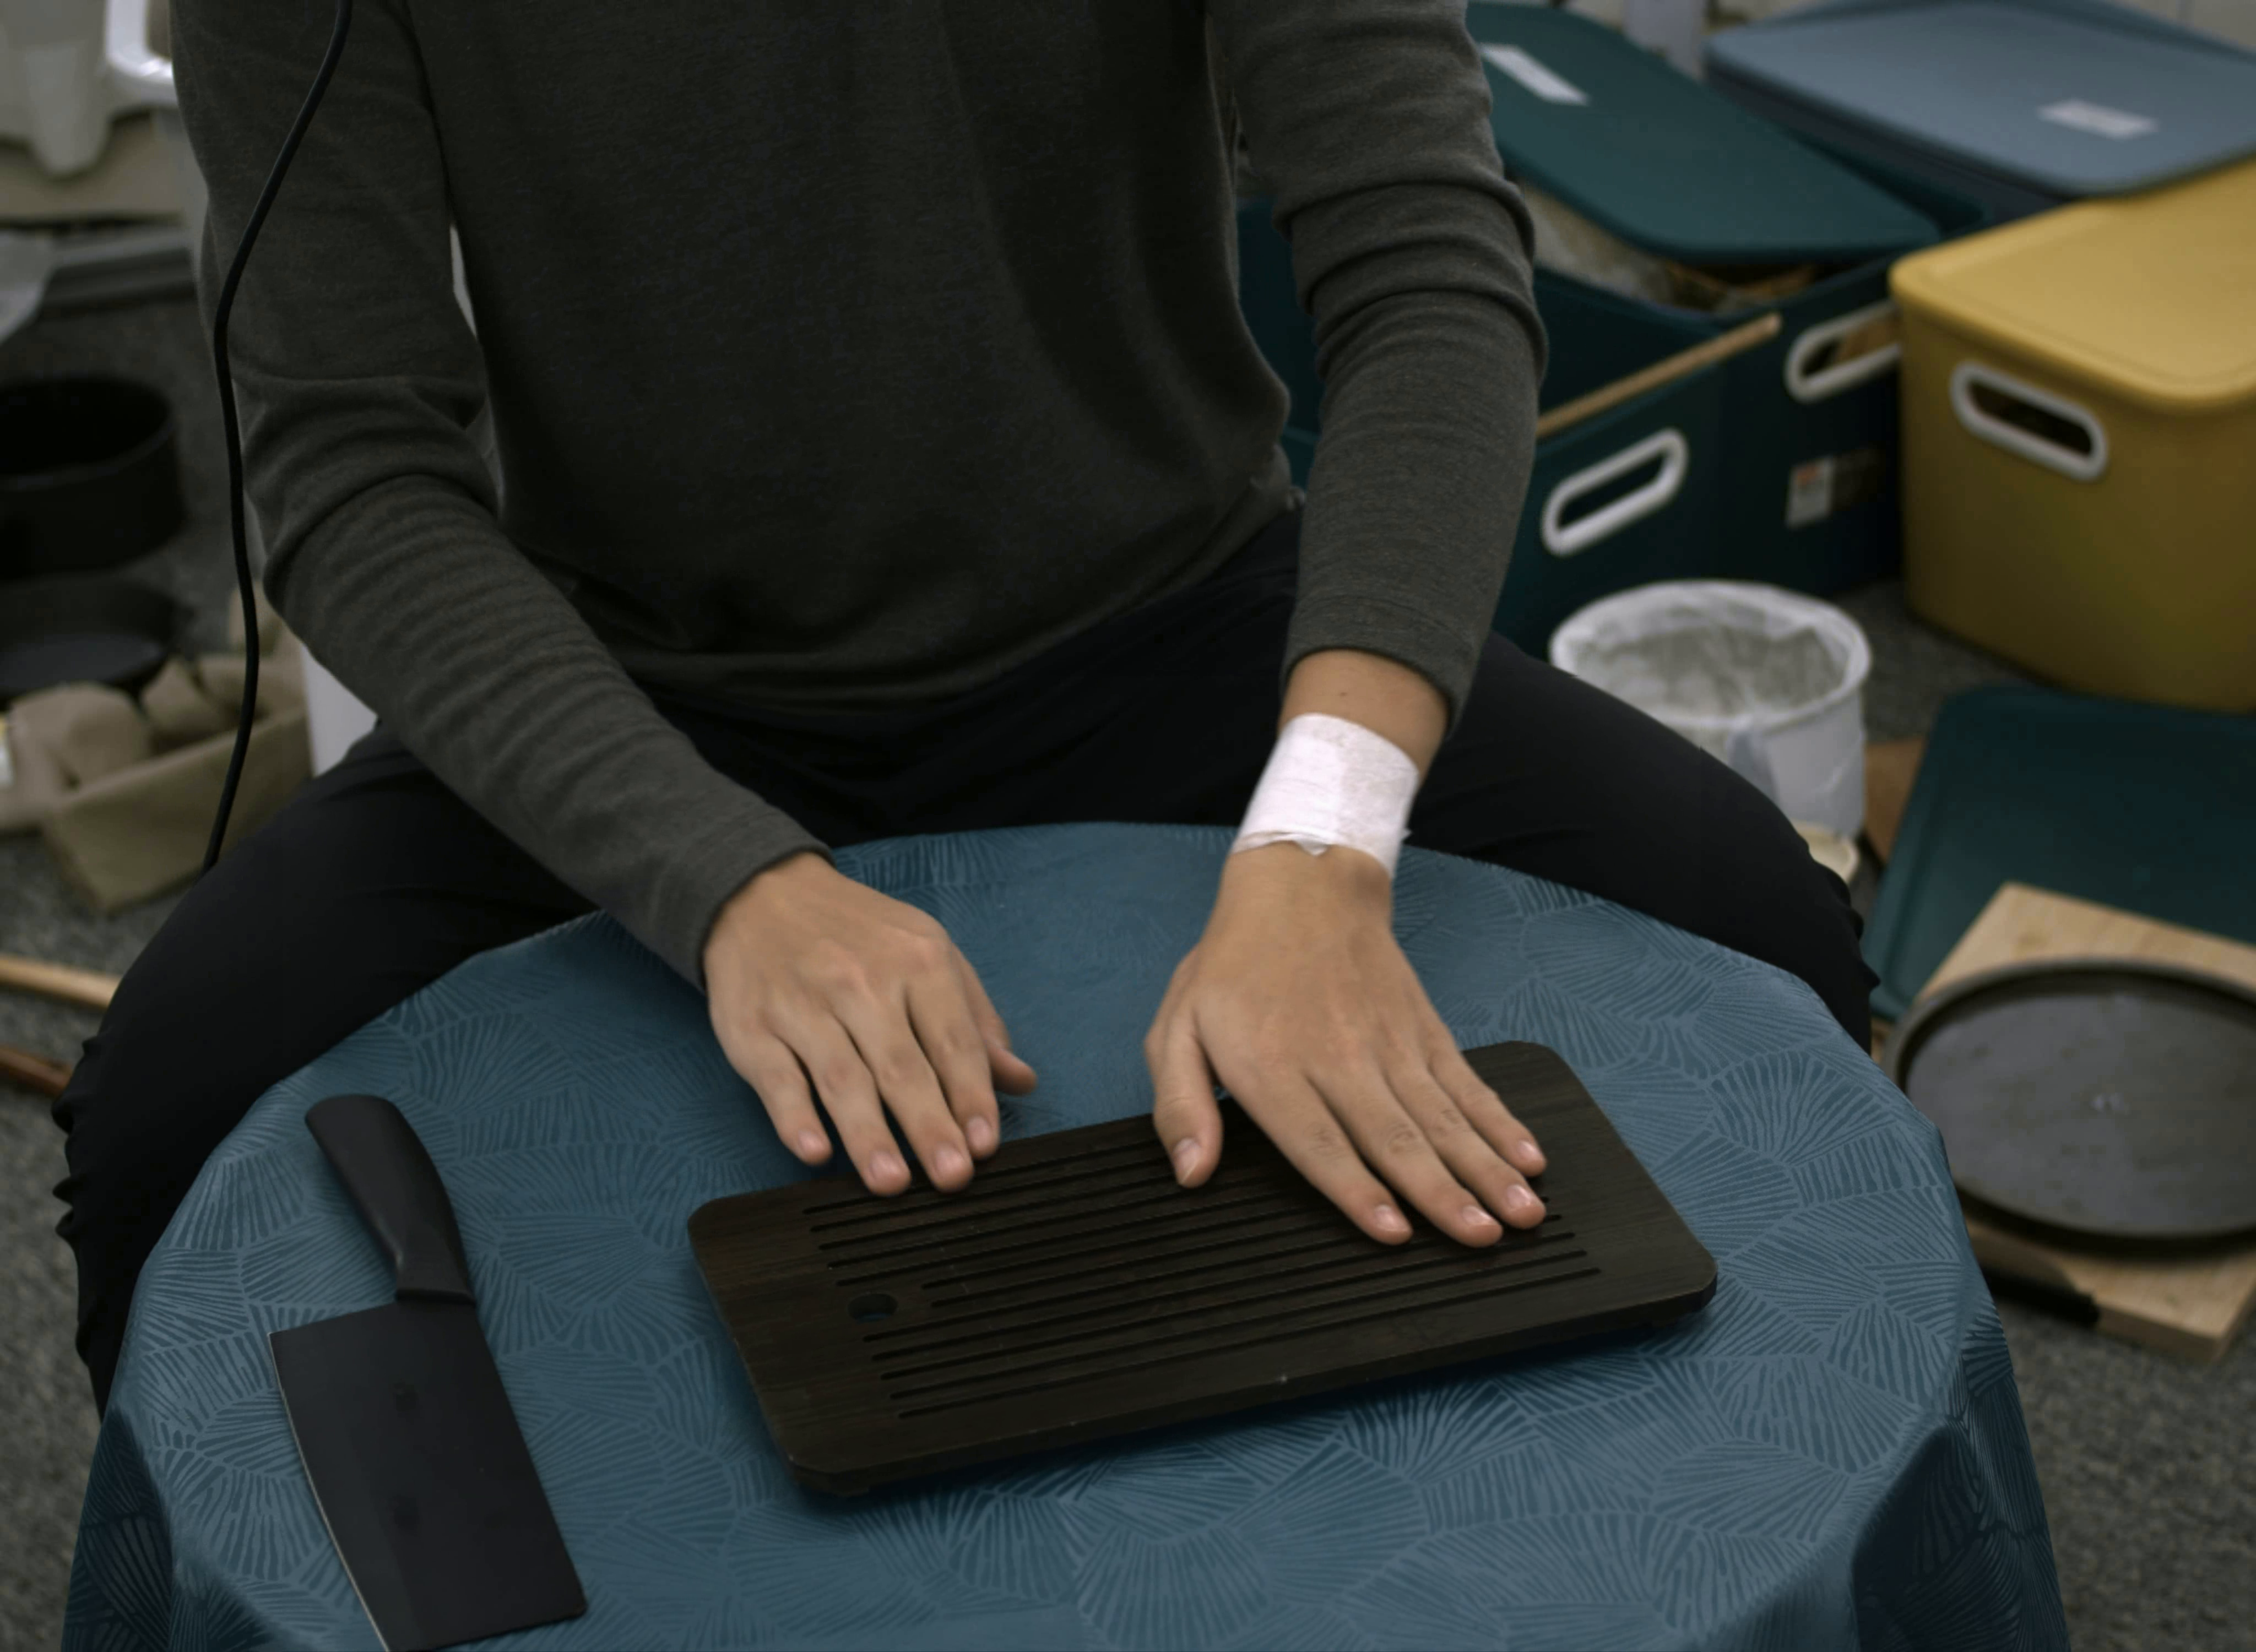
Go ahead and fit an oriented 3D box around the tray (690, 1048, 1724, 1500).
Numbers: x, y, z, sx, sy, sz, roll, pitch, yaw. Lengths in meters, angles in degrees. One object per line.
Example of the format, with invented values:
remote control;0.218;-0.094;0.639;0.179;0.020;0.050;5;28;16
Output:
tray;0.023;0.142;1.800;0.306;0.018;0.172;-10;27;-14

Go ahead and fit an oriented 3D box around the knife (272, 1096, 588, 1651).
knife;-0.231;0.169;1.776;0.081;0.020;0.306;-9;30;-10
